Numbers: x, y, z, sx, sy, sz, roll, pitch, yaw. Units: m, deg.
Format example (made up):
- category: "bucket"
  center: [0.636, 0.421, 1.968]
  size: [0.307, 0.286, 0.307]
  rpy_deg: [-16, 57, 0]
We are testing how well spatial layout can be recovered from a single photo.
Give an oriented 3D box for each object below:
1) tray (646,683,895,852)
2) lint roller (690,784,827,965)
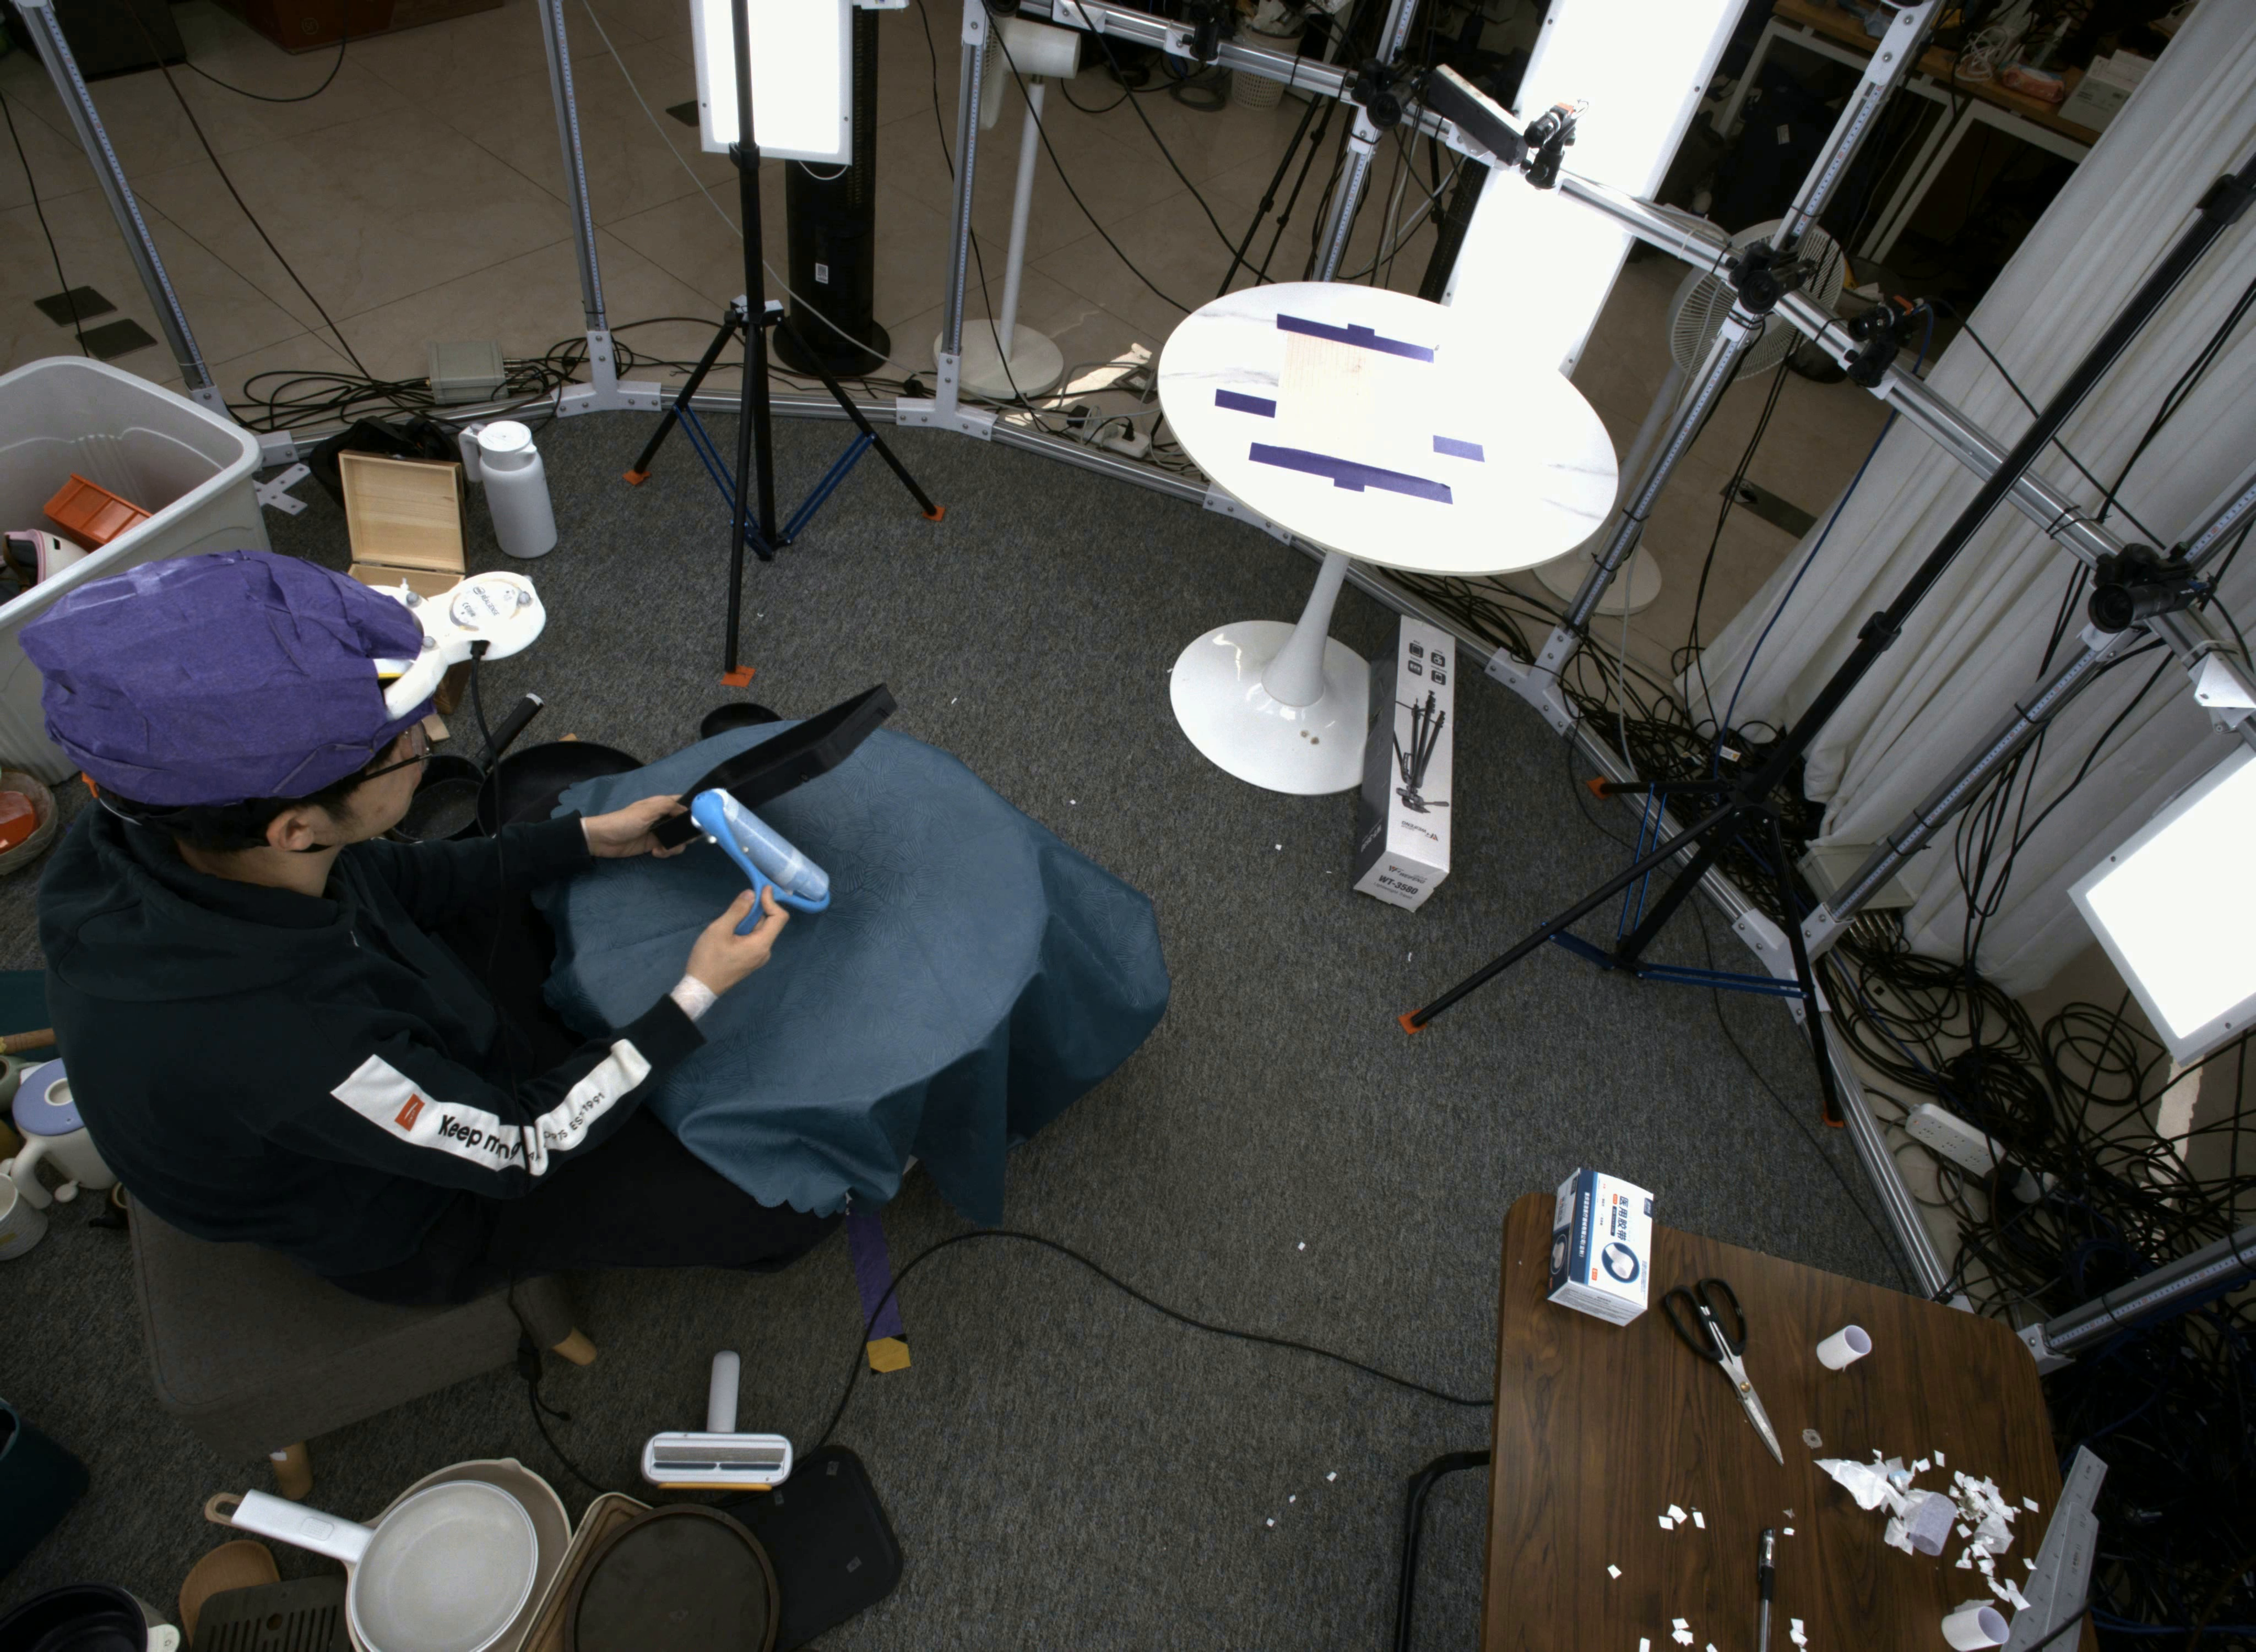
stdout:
- category: "tray"
  center: [-0.444, -0.073, 1.603]
  size: [0.038, 0.312, 0.182]
  rpy_deg: [59, 27, -20]
- category: "lint roller"
  center: [-0.443, 0.075, 1.516]
  size: [0.066, 0.237, 0.178]
  rpy_deg: [-7, 59, 22]
